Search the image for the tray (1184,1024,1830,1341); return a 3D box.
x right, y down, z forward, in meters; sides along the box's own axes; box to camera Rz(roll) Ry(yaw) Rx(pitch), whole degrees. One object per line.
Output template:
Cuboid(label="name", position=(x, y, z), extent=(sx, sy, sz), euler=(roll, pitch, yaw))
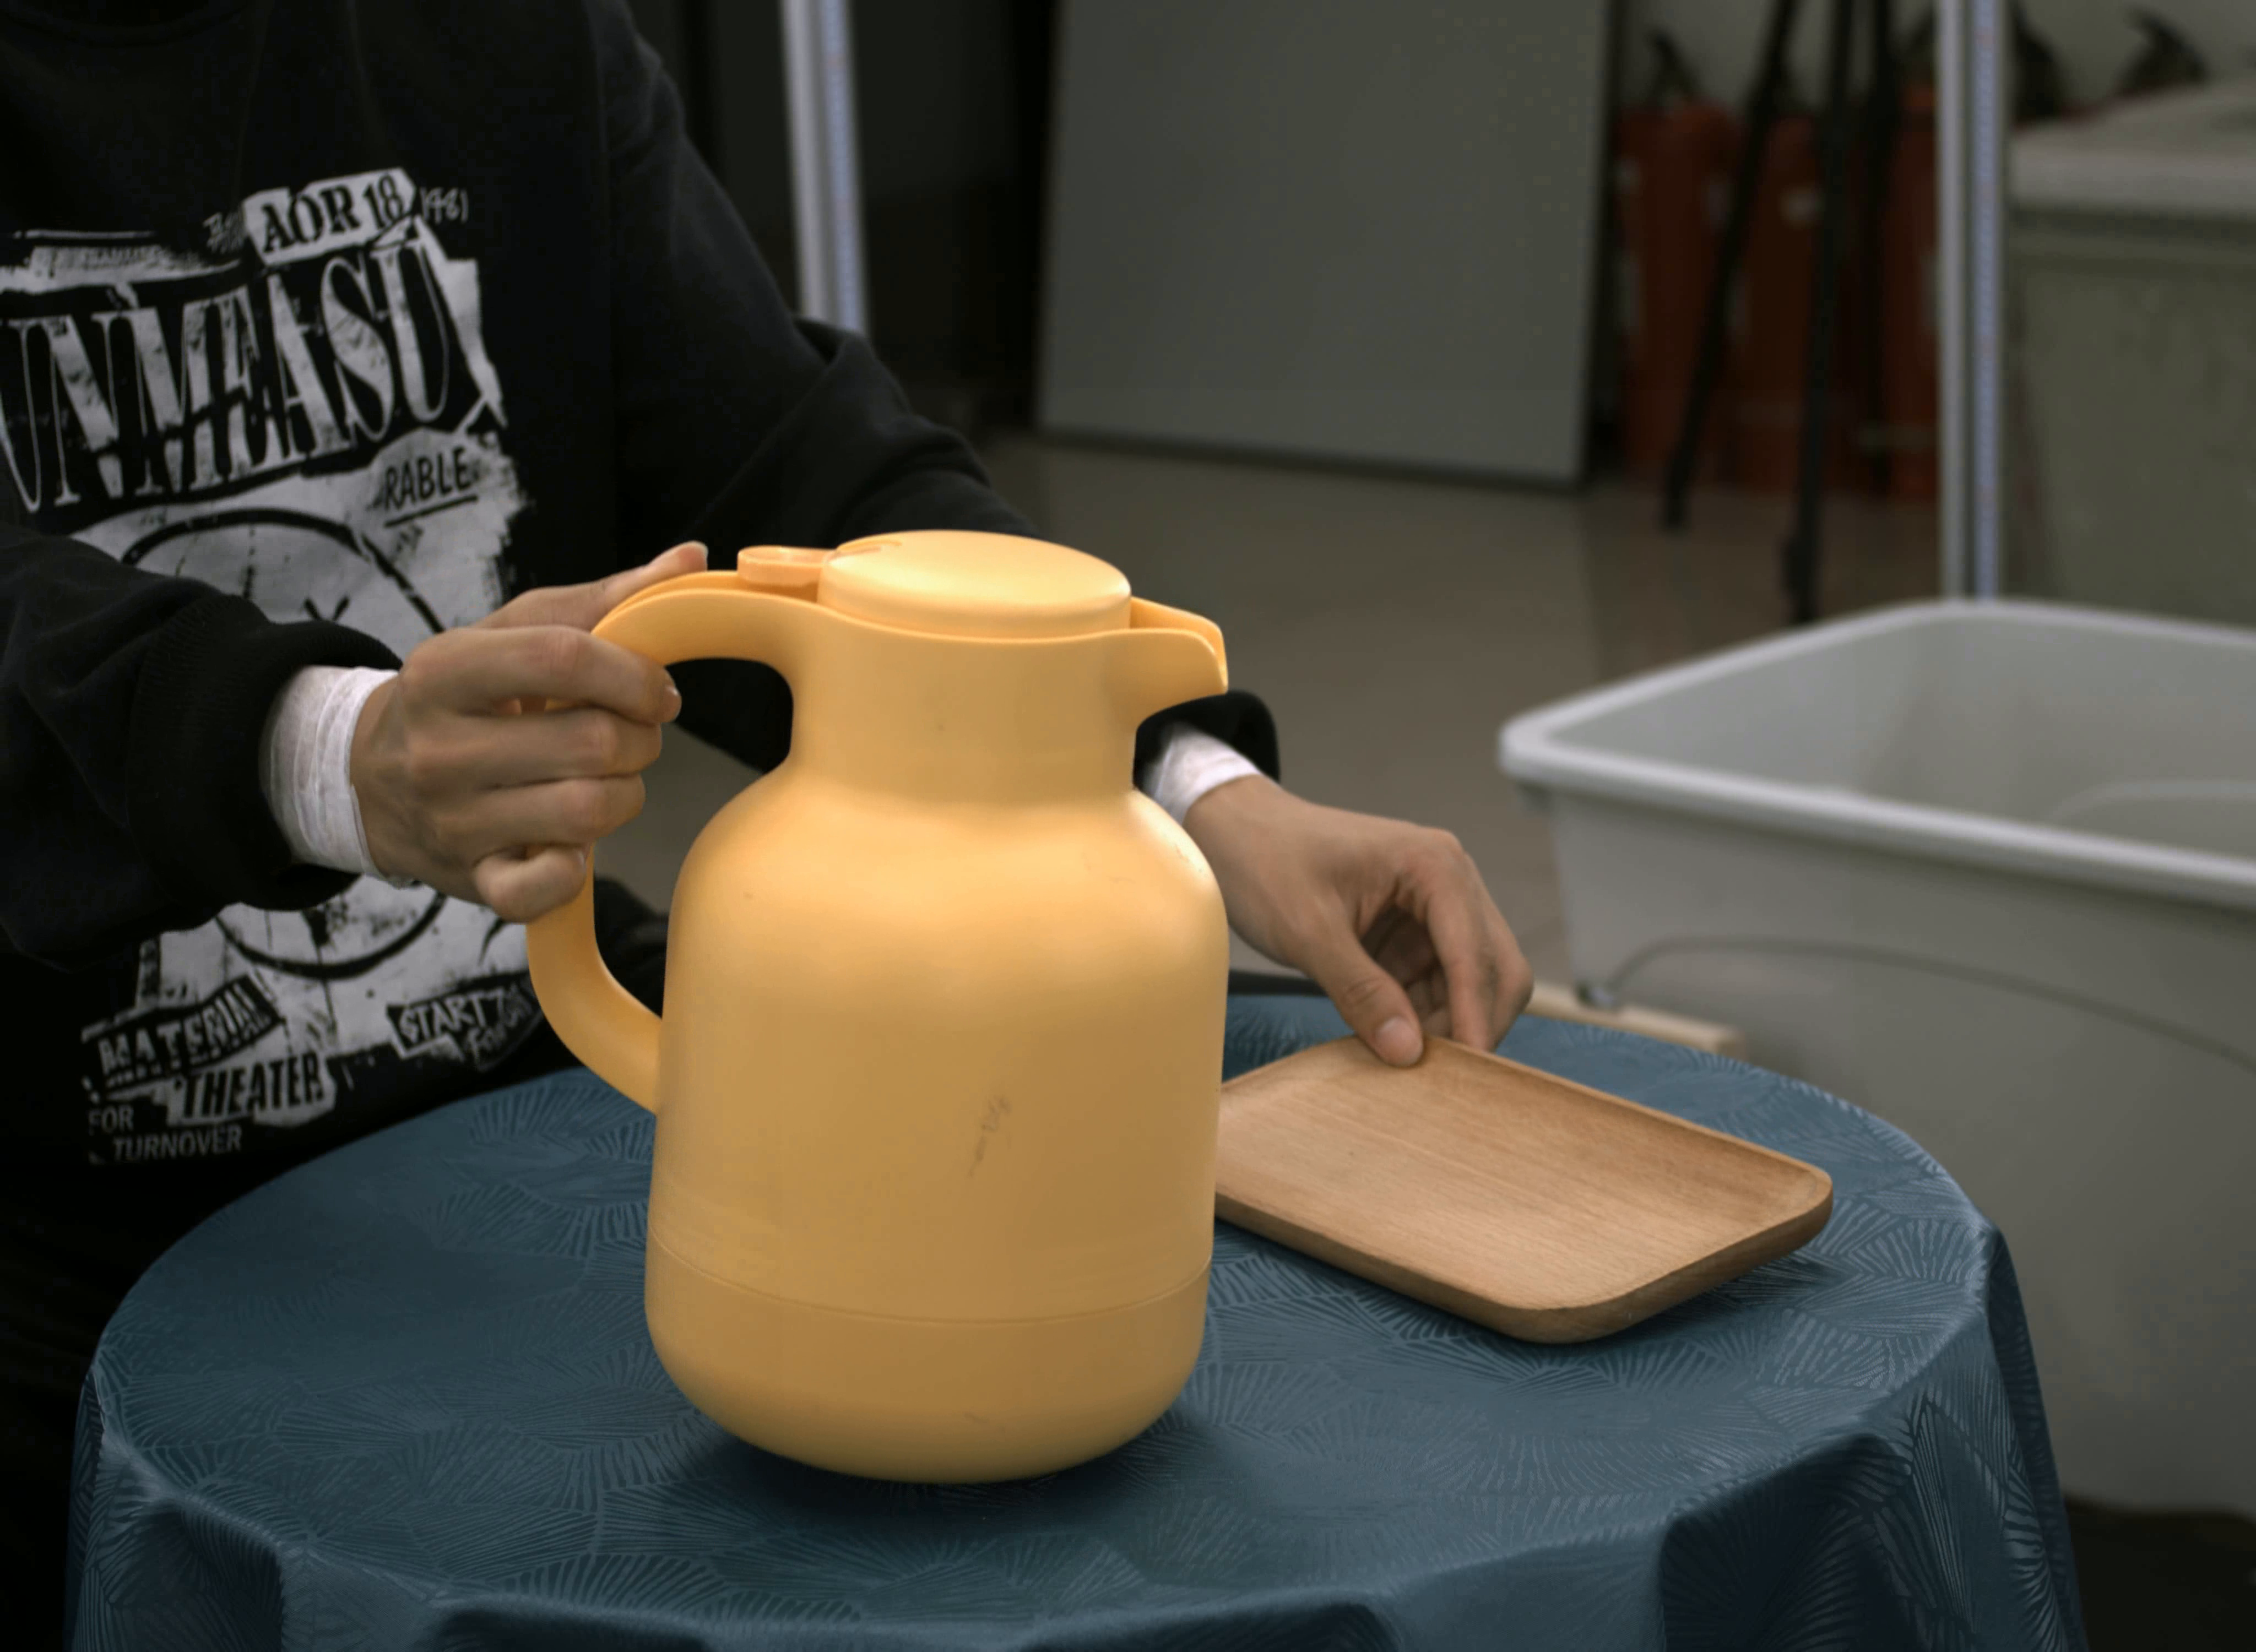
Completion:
Cuboid(label="tray", position=(0.108, 0.111, 1.715), extent=(0.128, 0.023, 0.253), euler=(-18, 18, -28))

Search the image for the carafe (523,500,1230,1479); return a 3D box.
Cuboid(label="carafe", position=(-0.072, 0.039, 1.527), extent=(0.201, 0.263, 0.163), euler=(7, 12, 8))
